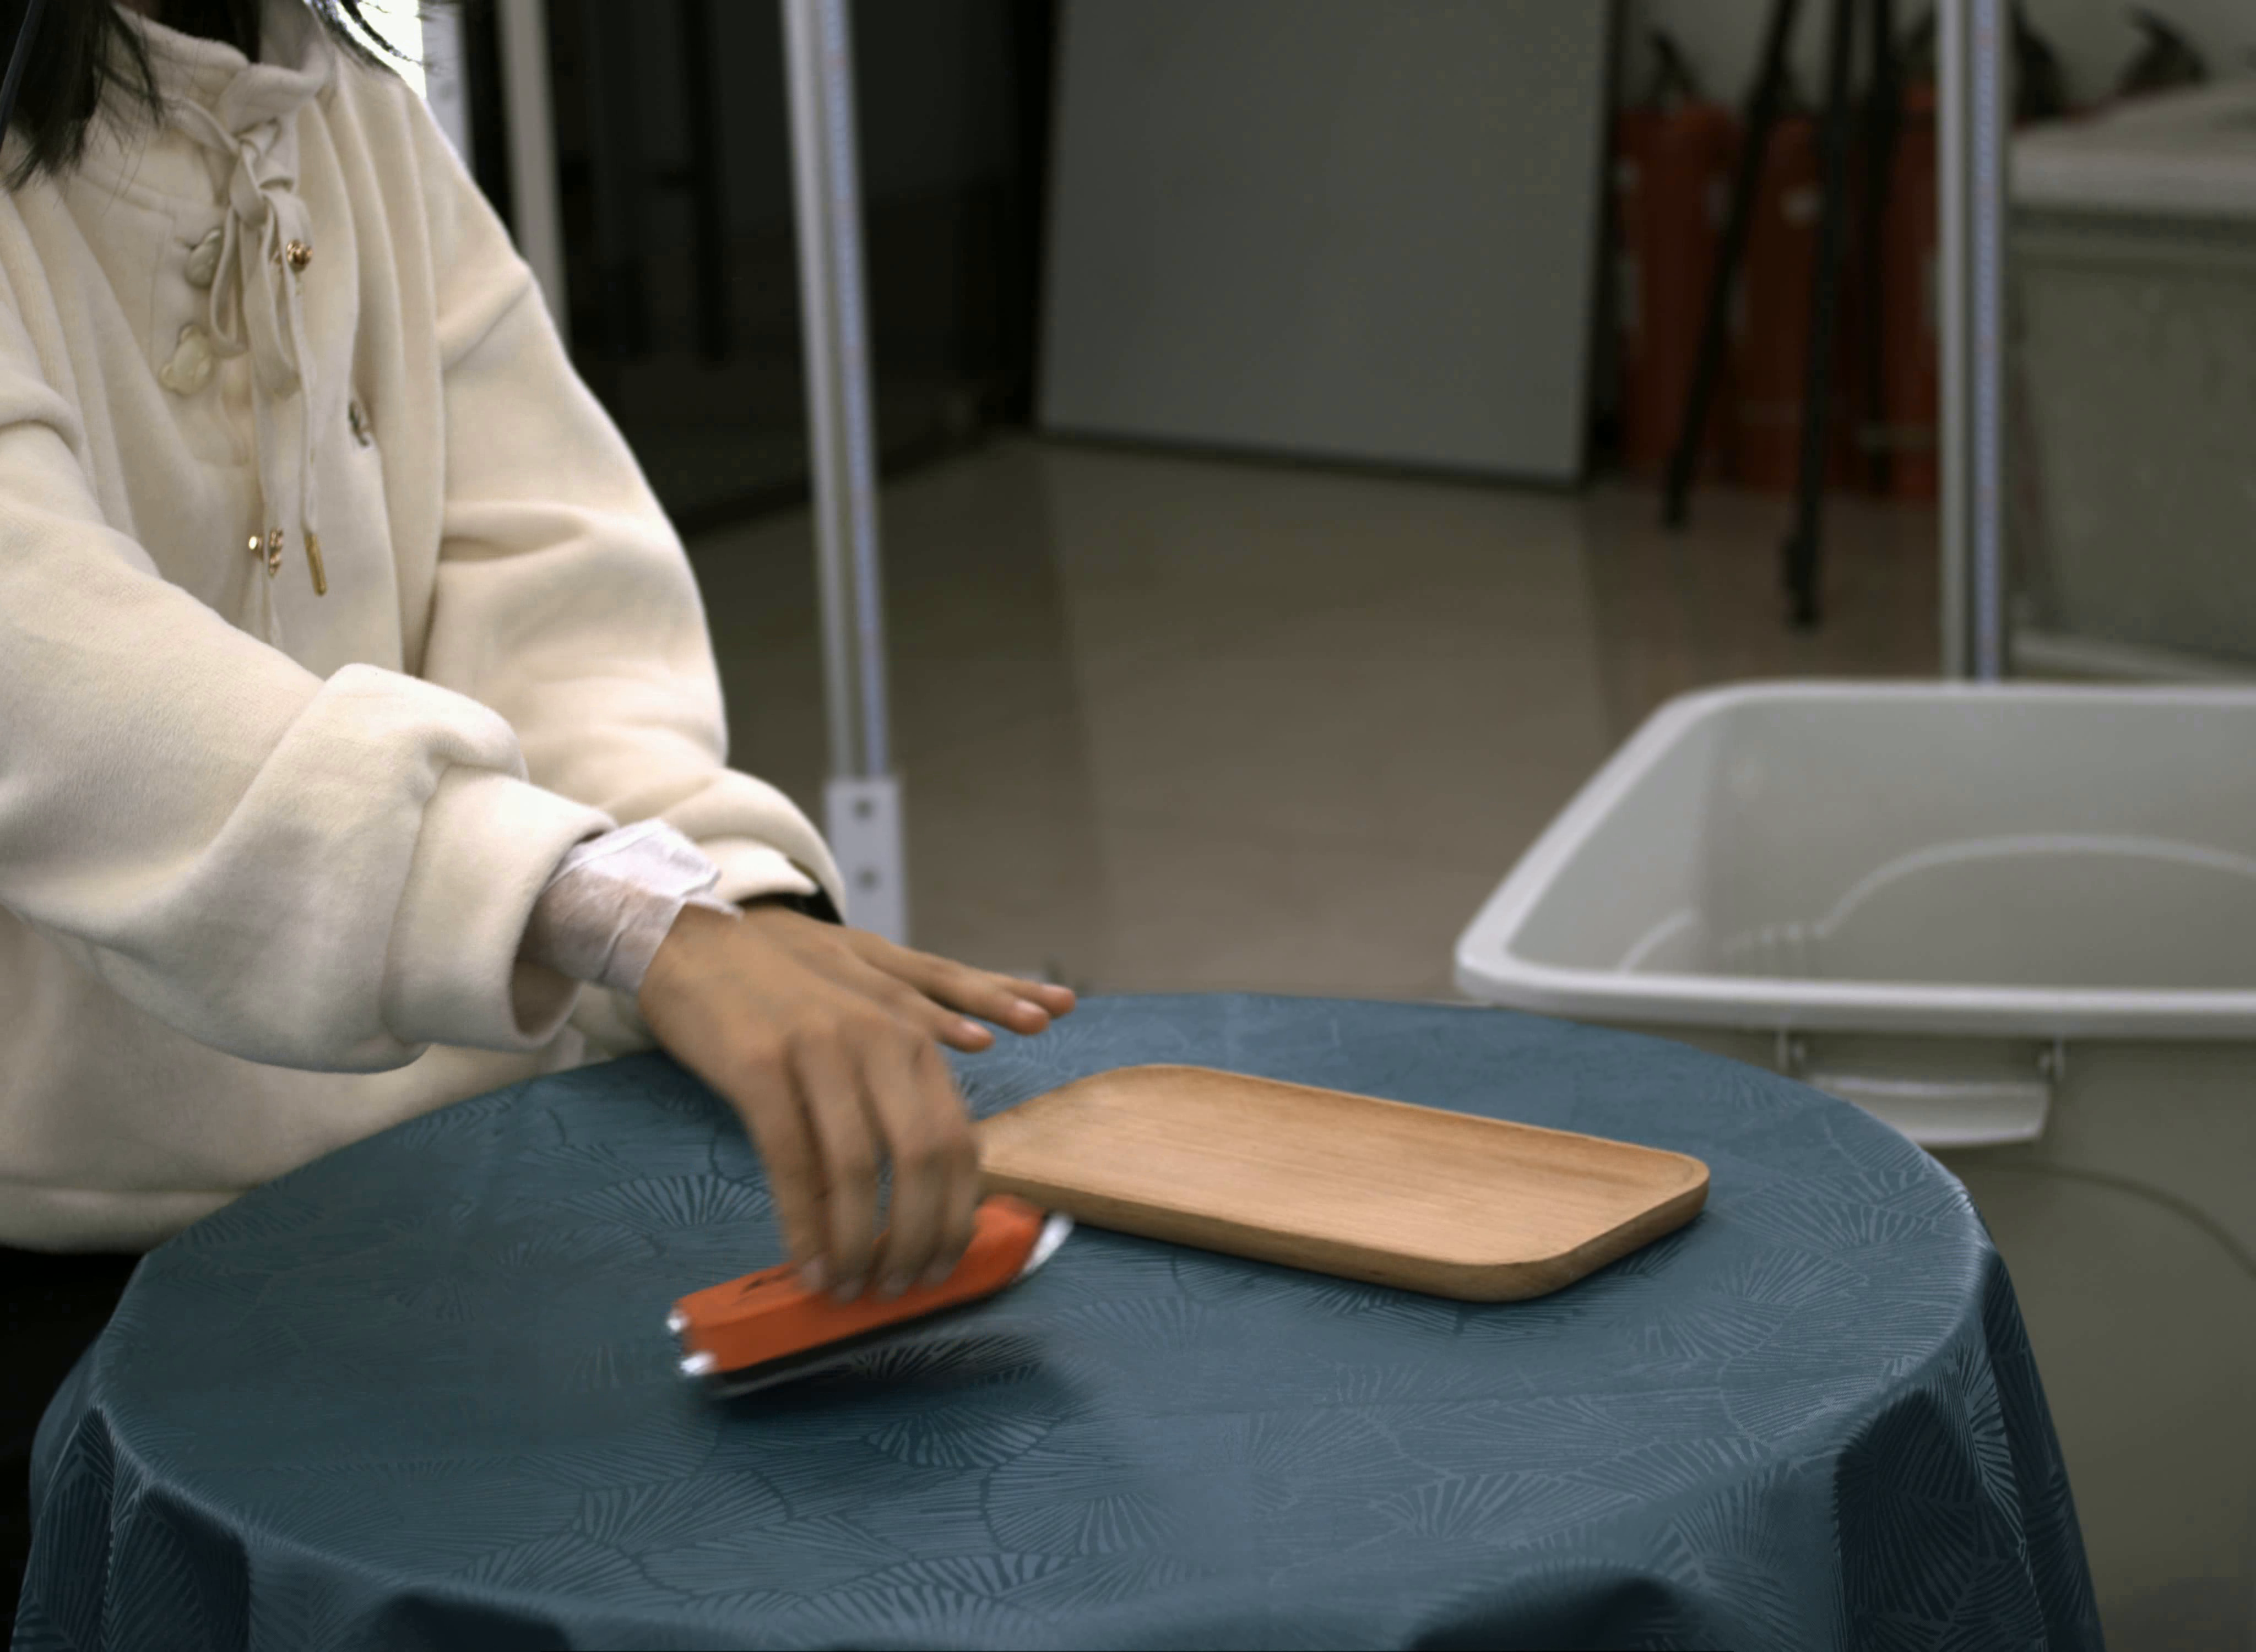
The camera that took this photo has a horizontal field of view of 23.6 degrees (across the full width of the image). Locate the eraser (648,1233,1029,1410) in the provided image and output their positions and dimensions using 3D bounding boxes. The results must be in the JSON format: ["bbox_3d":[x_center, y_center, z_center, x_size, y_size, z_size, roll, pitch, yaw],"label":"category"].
[{"bbox_3d":[-0.086,0.147,1.605,0.106,0.023,0.059,-13,9,-11],"label":"eraser"}]

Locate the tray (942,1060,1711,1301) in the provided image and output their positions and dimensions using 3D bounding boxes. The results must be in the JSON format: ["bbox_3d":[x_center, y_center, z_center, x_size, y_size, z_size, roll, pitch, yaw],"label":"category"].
[{"bbox_3d":[0.062,0.113,1.746,0.253,0.023,0.128,8,15,41],"label":"tray"}]
